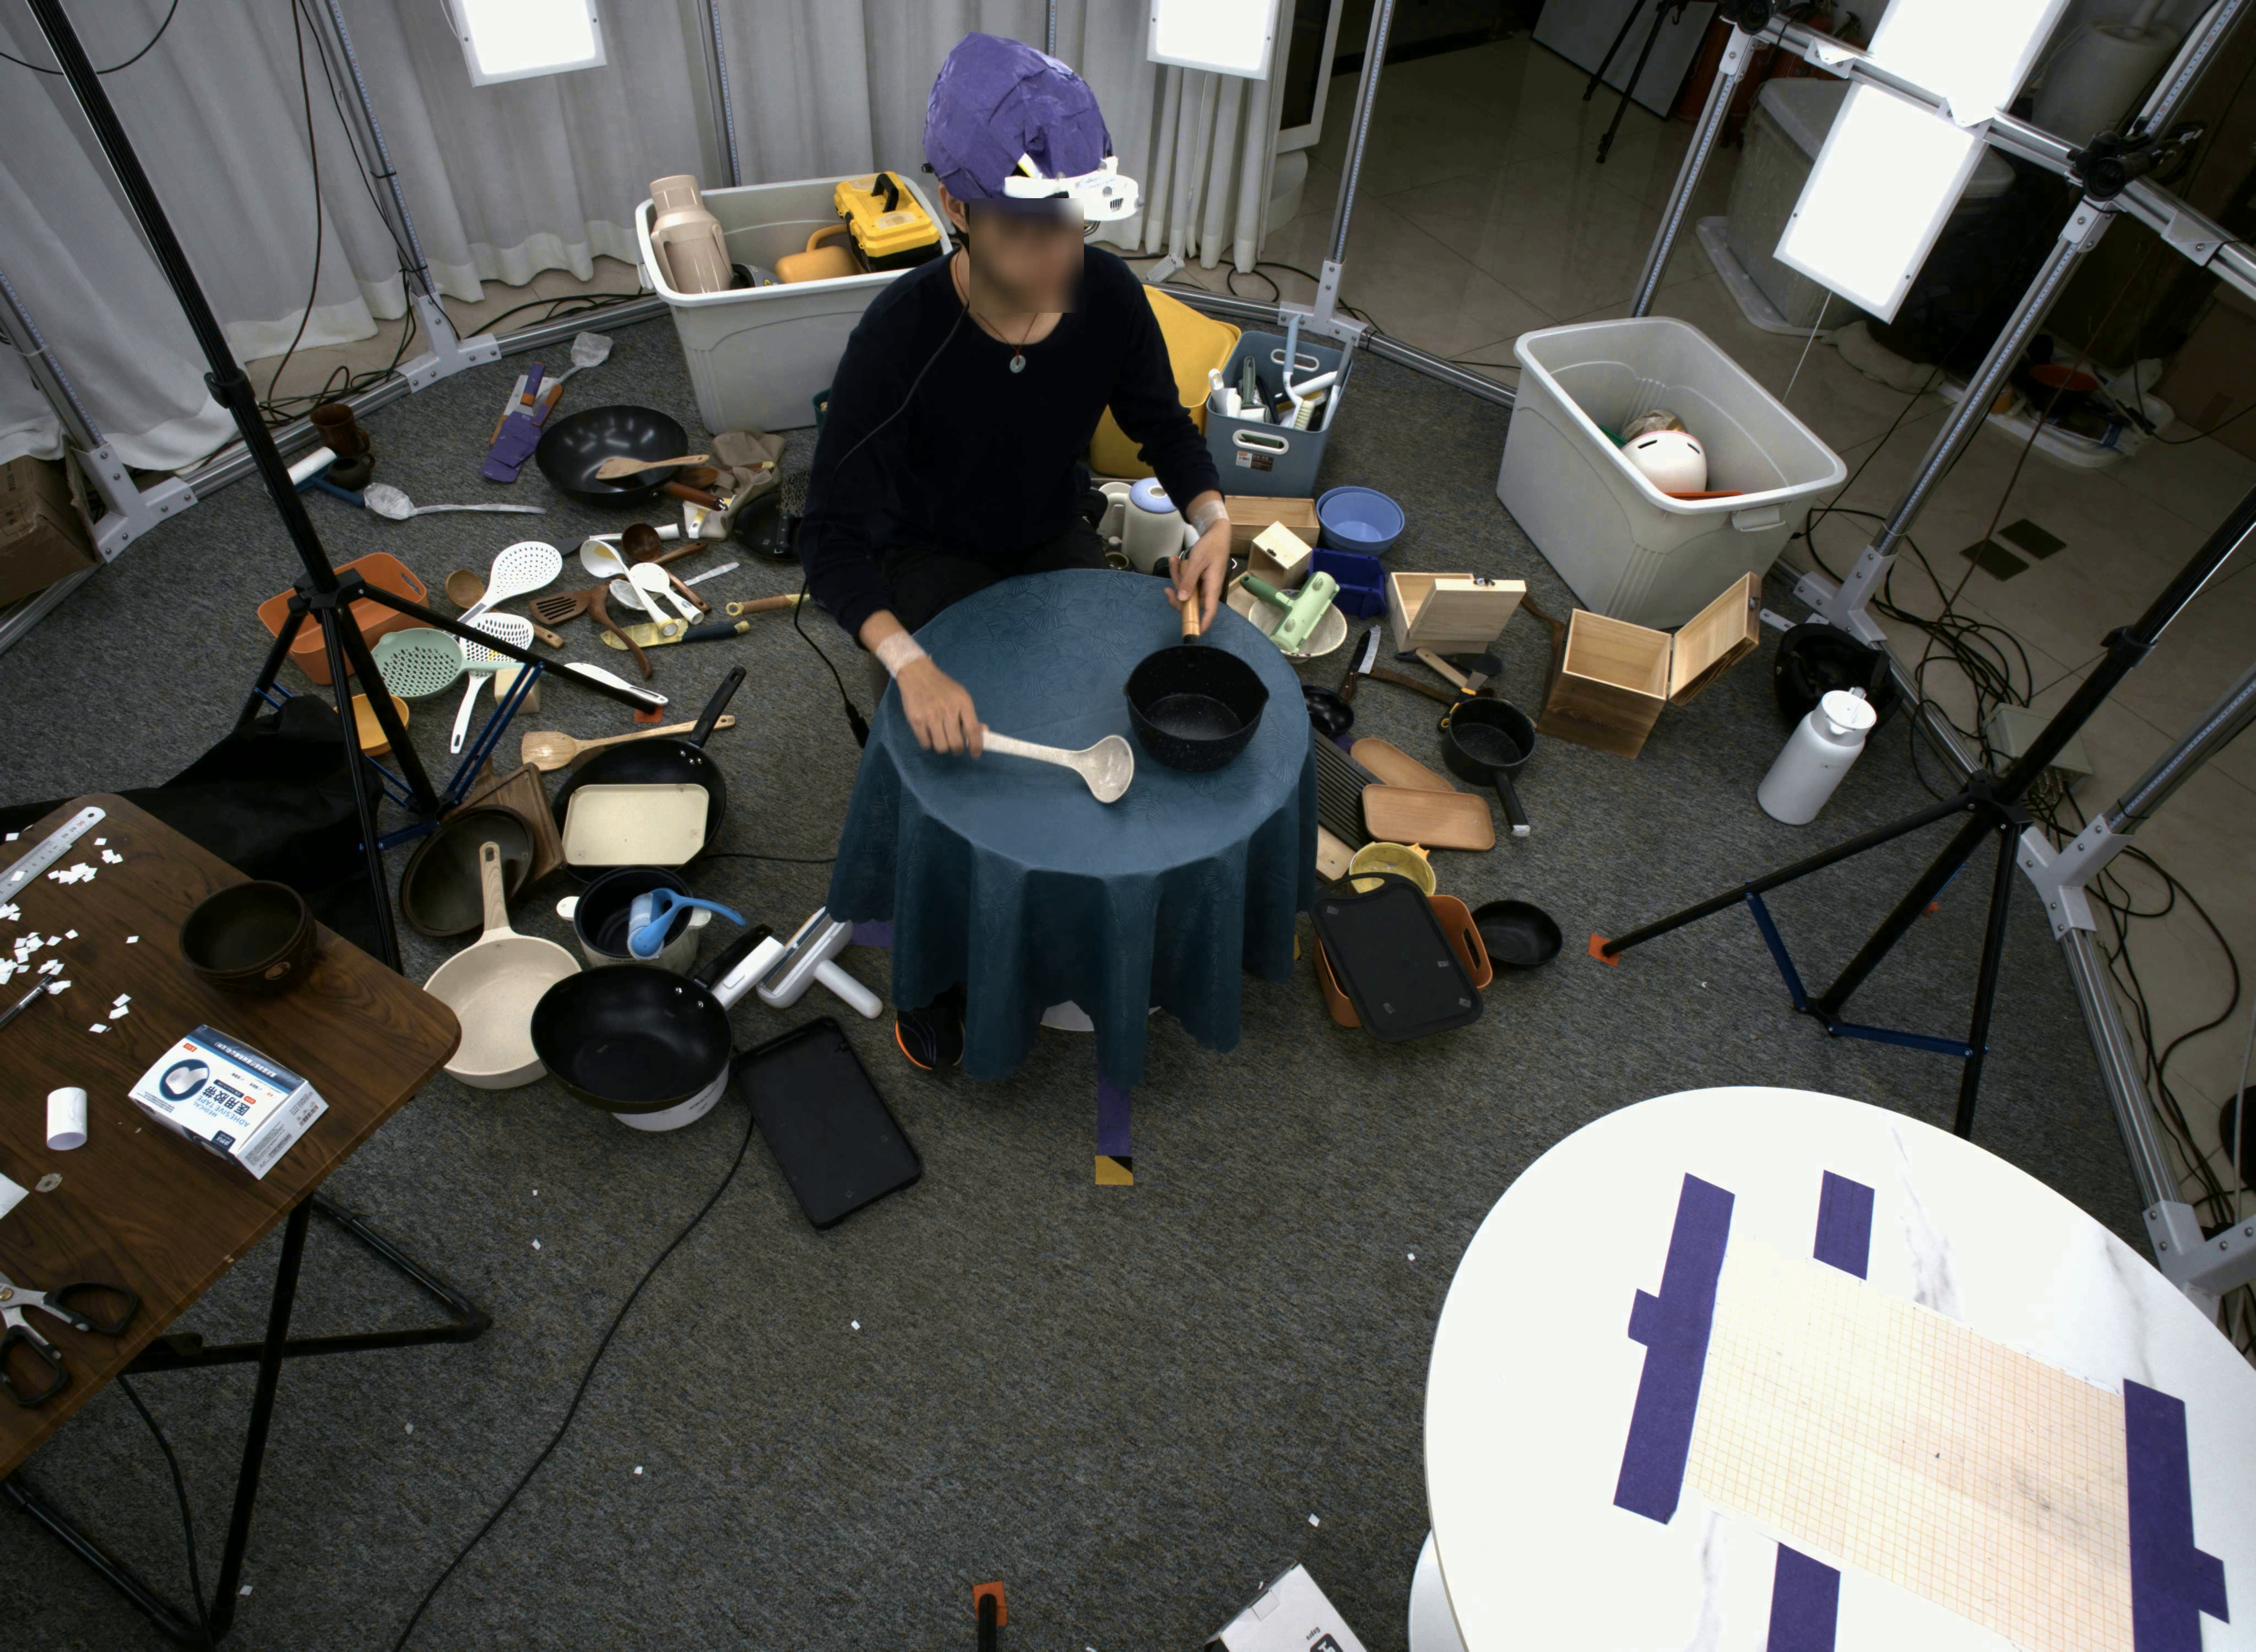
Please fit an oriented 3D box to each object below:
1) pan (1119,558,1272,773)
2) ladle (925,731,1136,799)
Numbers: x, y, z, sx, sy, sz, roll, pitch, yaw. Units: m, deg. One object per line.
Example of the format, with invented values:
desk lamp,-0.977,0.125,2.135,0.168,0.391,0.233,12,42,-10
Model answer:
pan,0.088,-0.226,1.801,0.207,0.105,0.351,0,50,-2
ladle,-0.127,-0.095,1.674,0.274,0.089,0.070,8,3,-9
